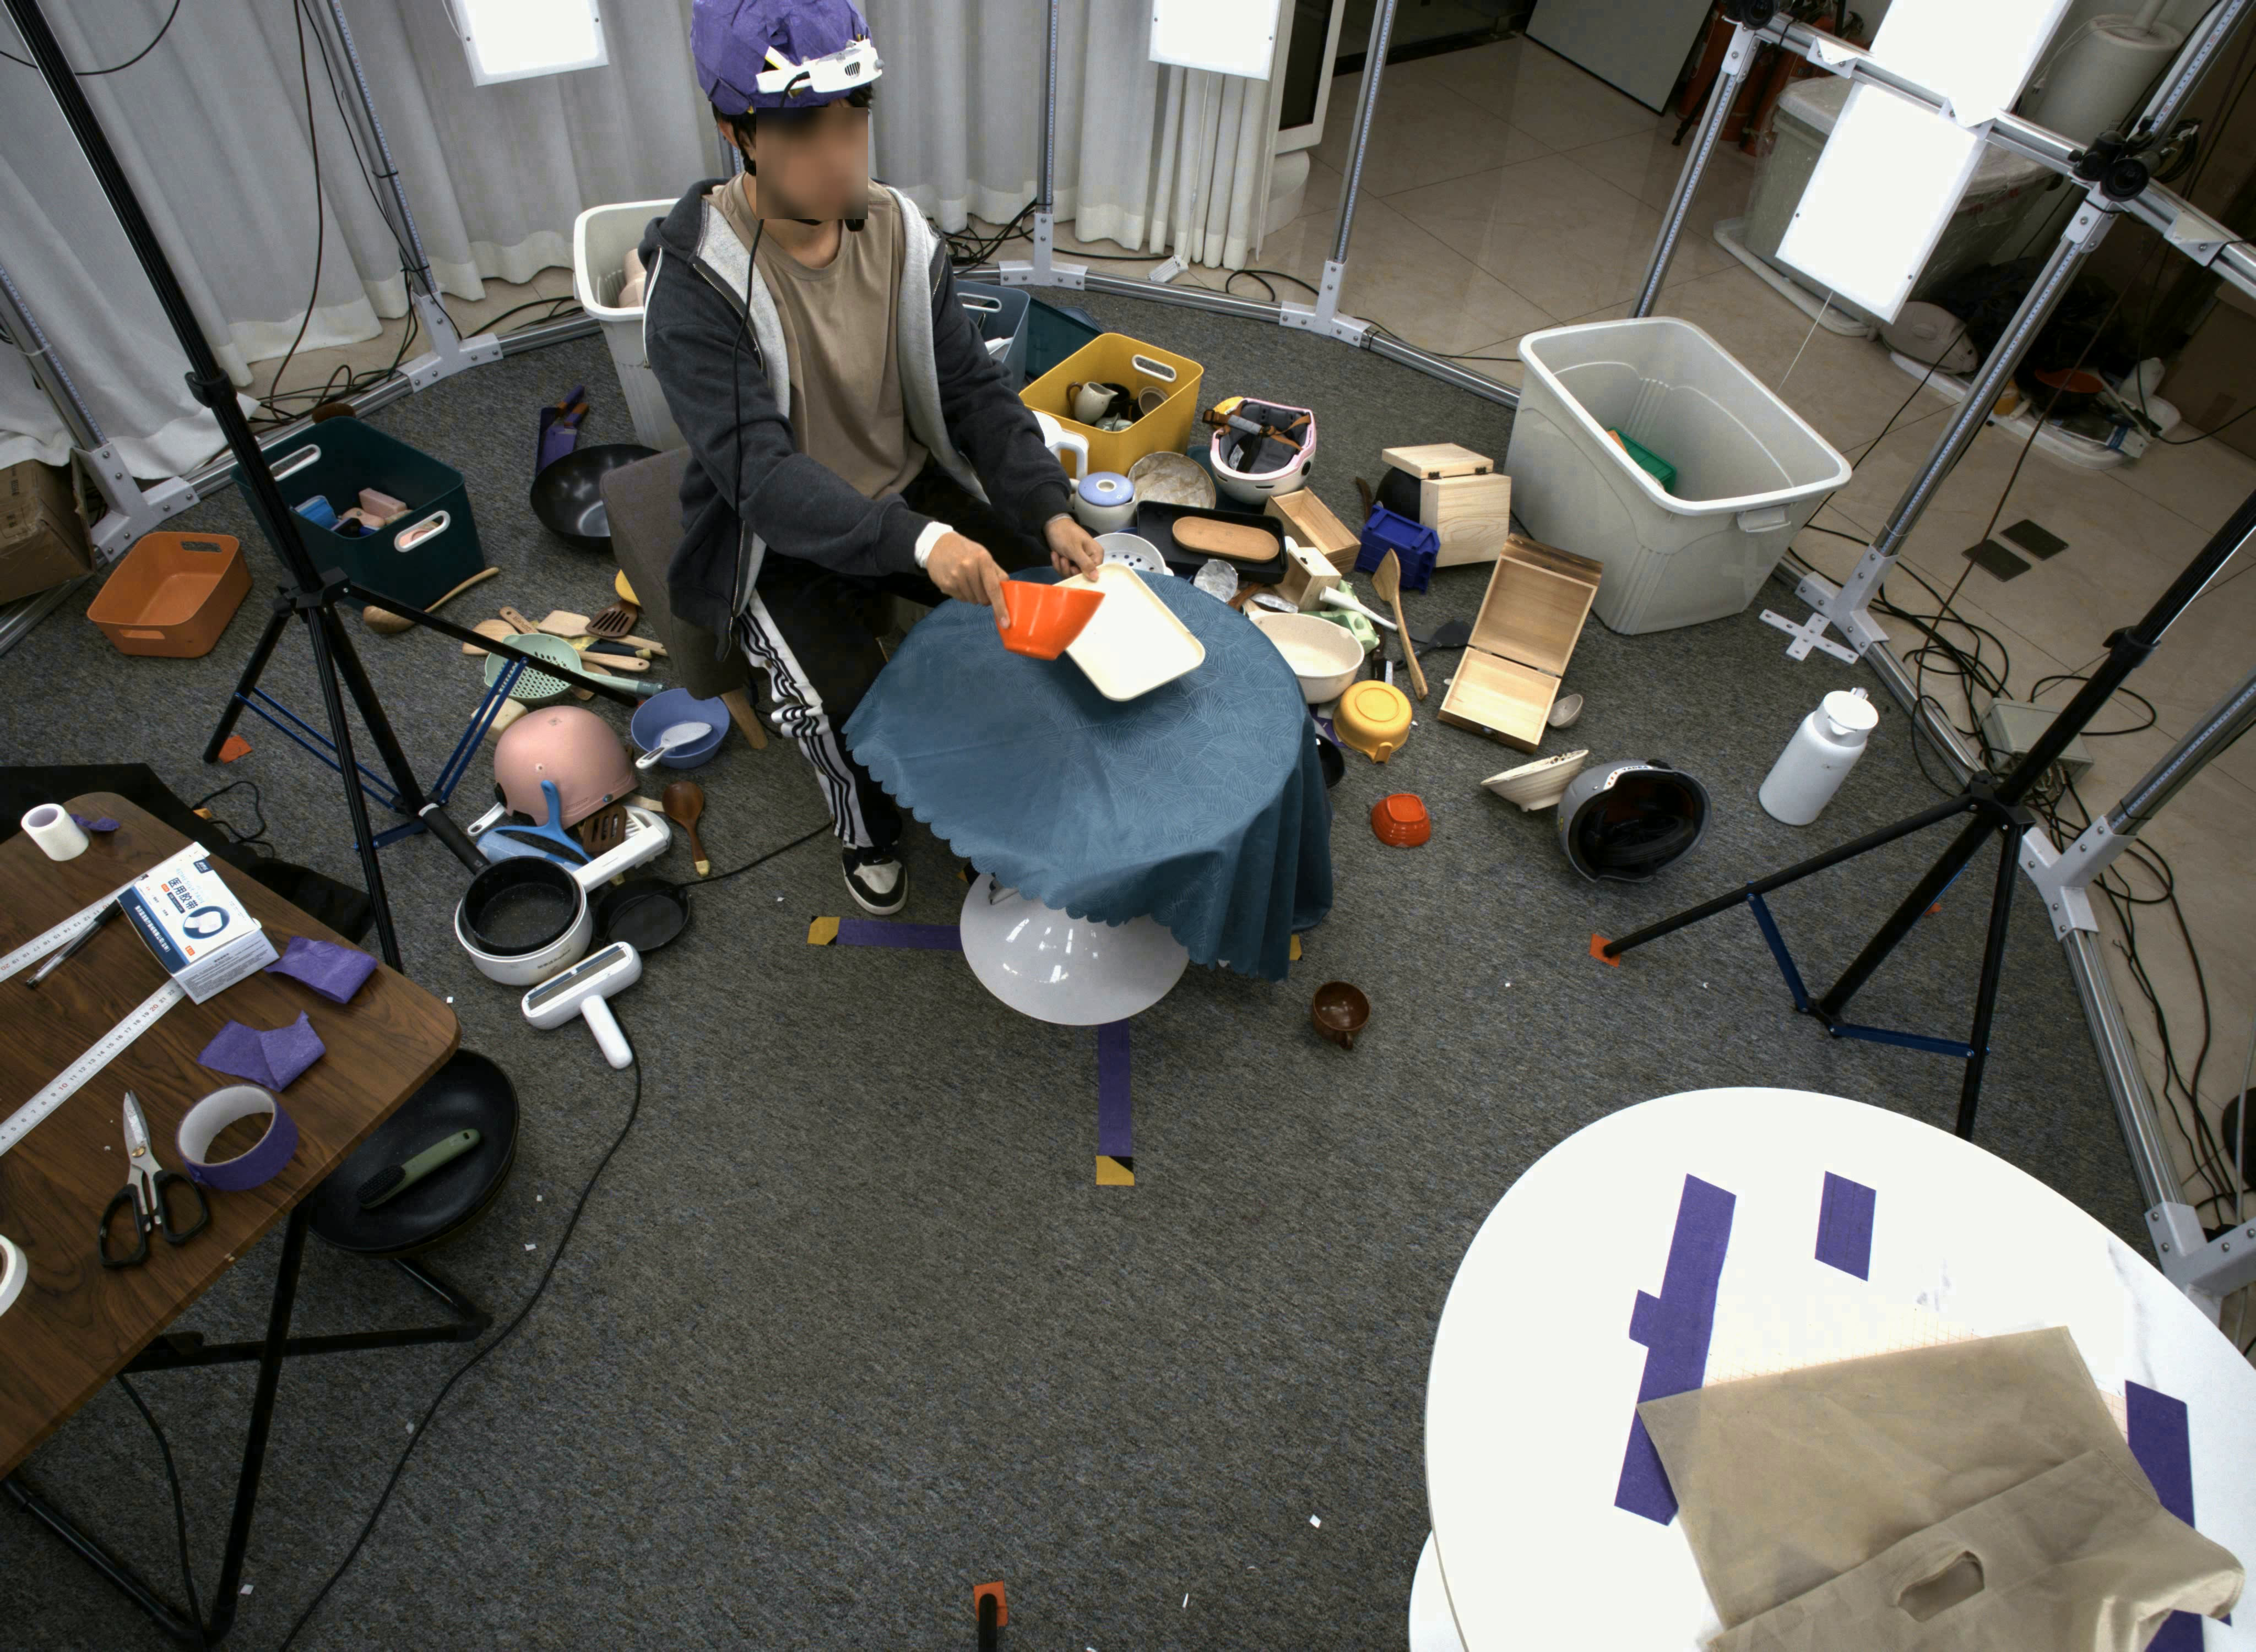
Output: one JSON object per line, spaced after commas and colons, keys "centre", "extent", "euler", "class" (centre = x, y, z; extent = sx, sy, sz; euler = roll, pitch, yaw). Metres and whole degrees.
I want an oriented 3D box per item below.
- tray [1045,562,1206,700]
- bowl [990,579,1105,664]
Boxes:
{"centre": [-0.015, -0.280, 1.837], "extent": [0.172, 0.017, 0.244], "euler": [-27, 58, -21], "class": "tray"}
{"centre": [-0.112, -0.265, 1.652], "extent": [0.148, 0.148, 0.104], "euler": [14, 92, 7], "class": "bowl"}
